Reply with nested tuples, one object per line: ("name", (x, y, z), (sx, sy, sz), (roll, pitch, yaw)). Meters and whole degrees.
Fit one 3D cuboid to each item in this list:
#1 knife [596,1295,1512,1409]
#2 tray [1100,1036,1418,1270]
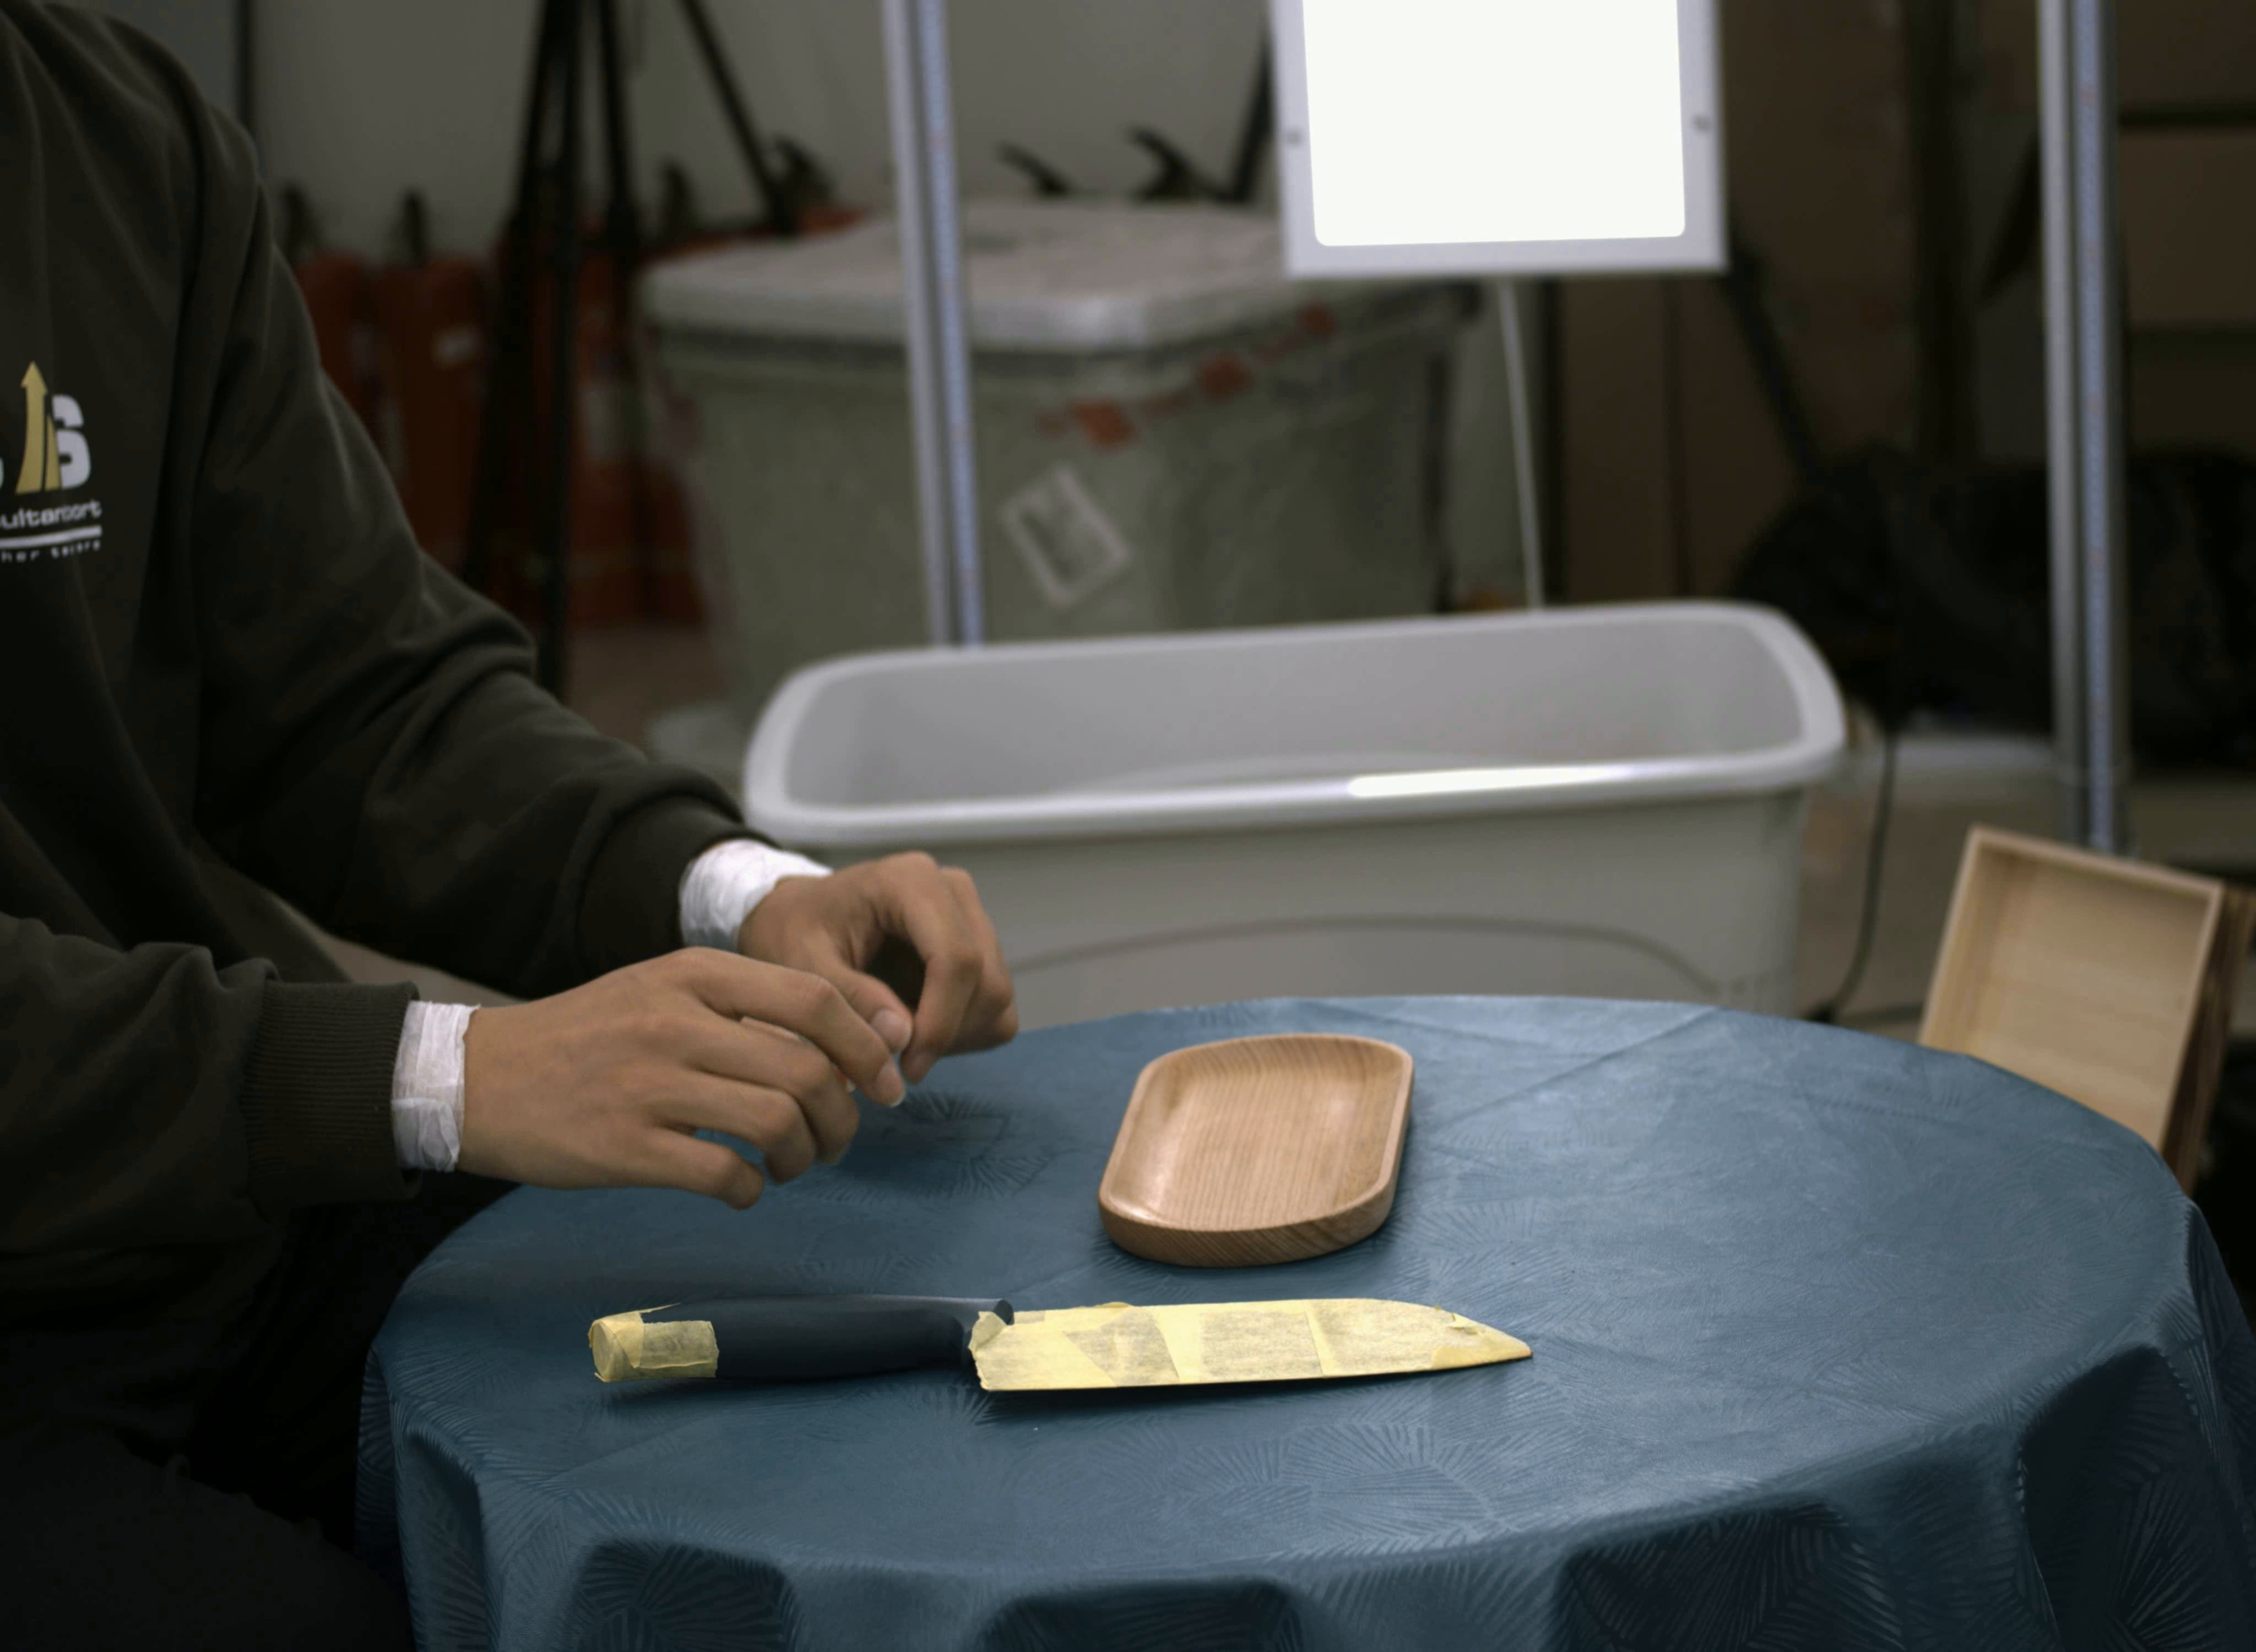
("knife", (-0.023, 0.165, 1.723), (0.289, 0.027, 0.081), (-4, 12, 2))
("tray", (0.048, 0.112, 1.912), (0.102, 0.020, 0.229), (-5, 15, 8))
